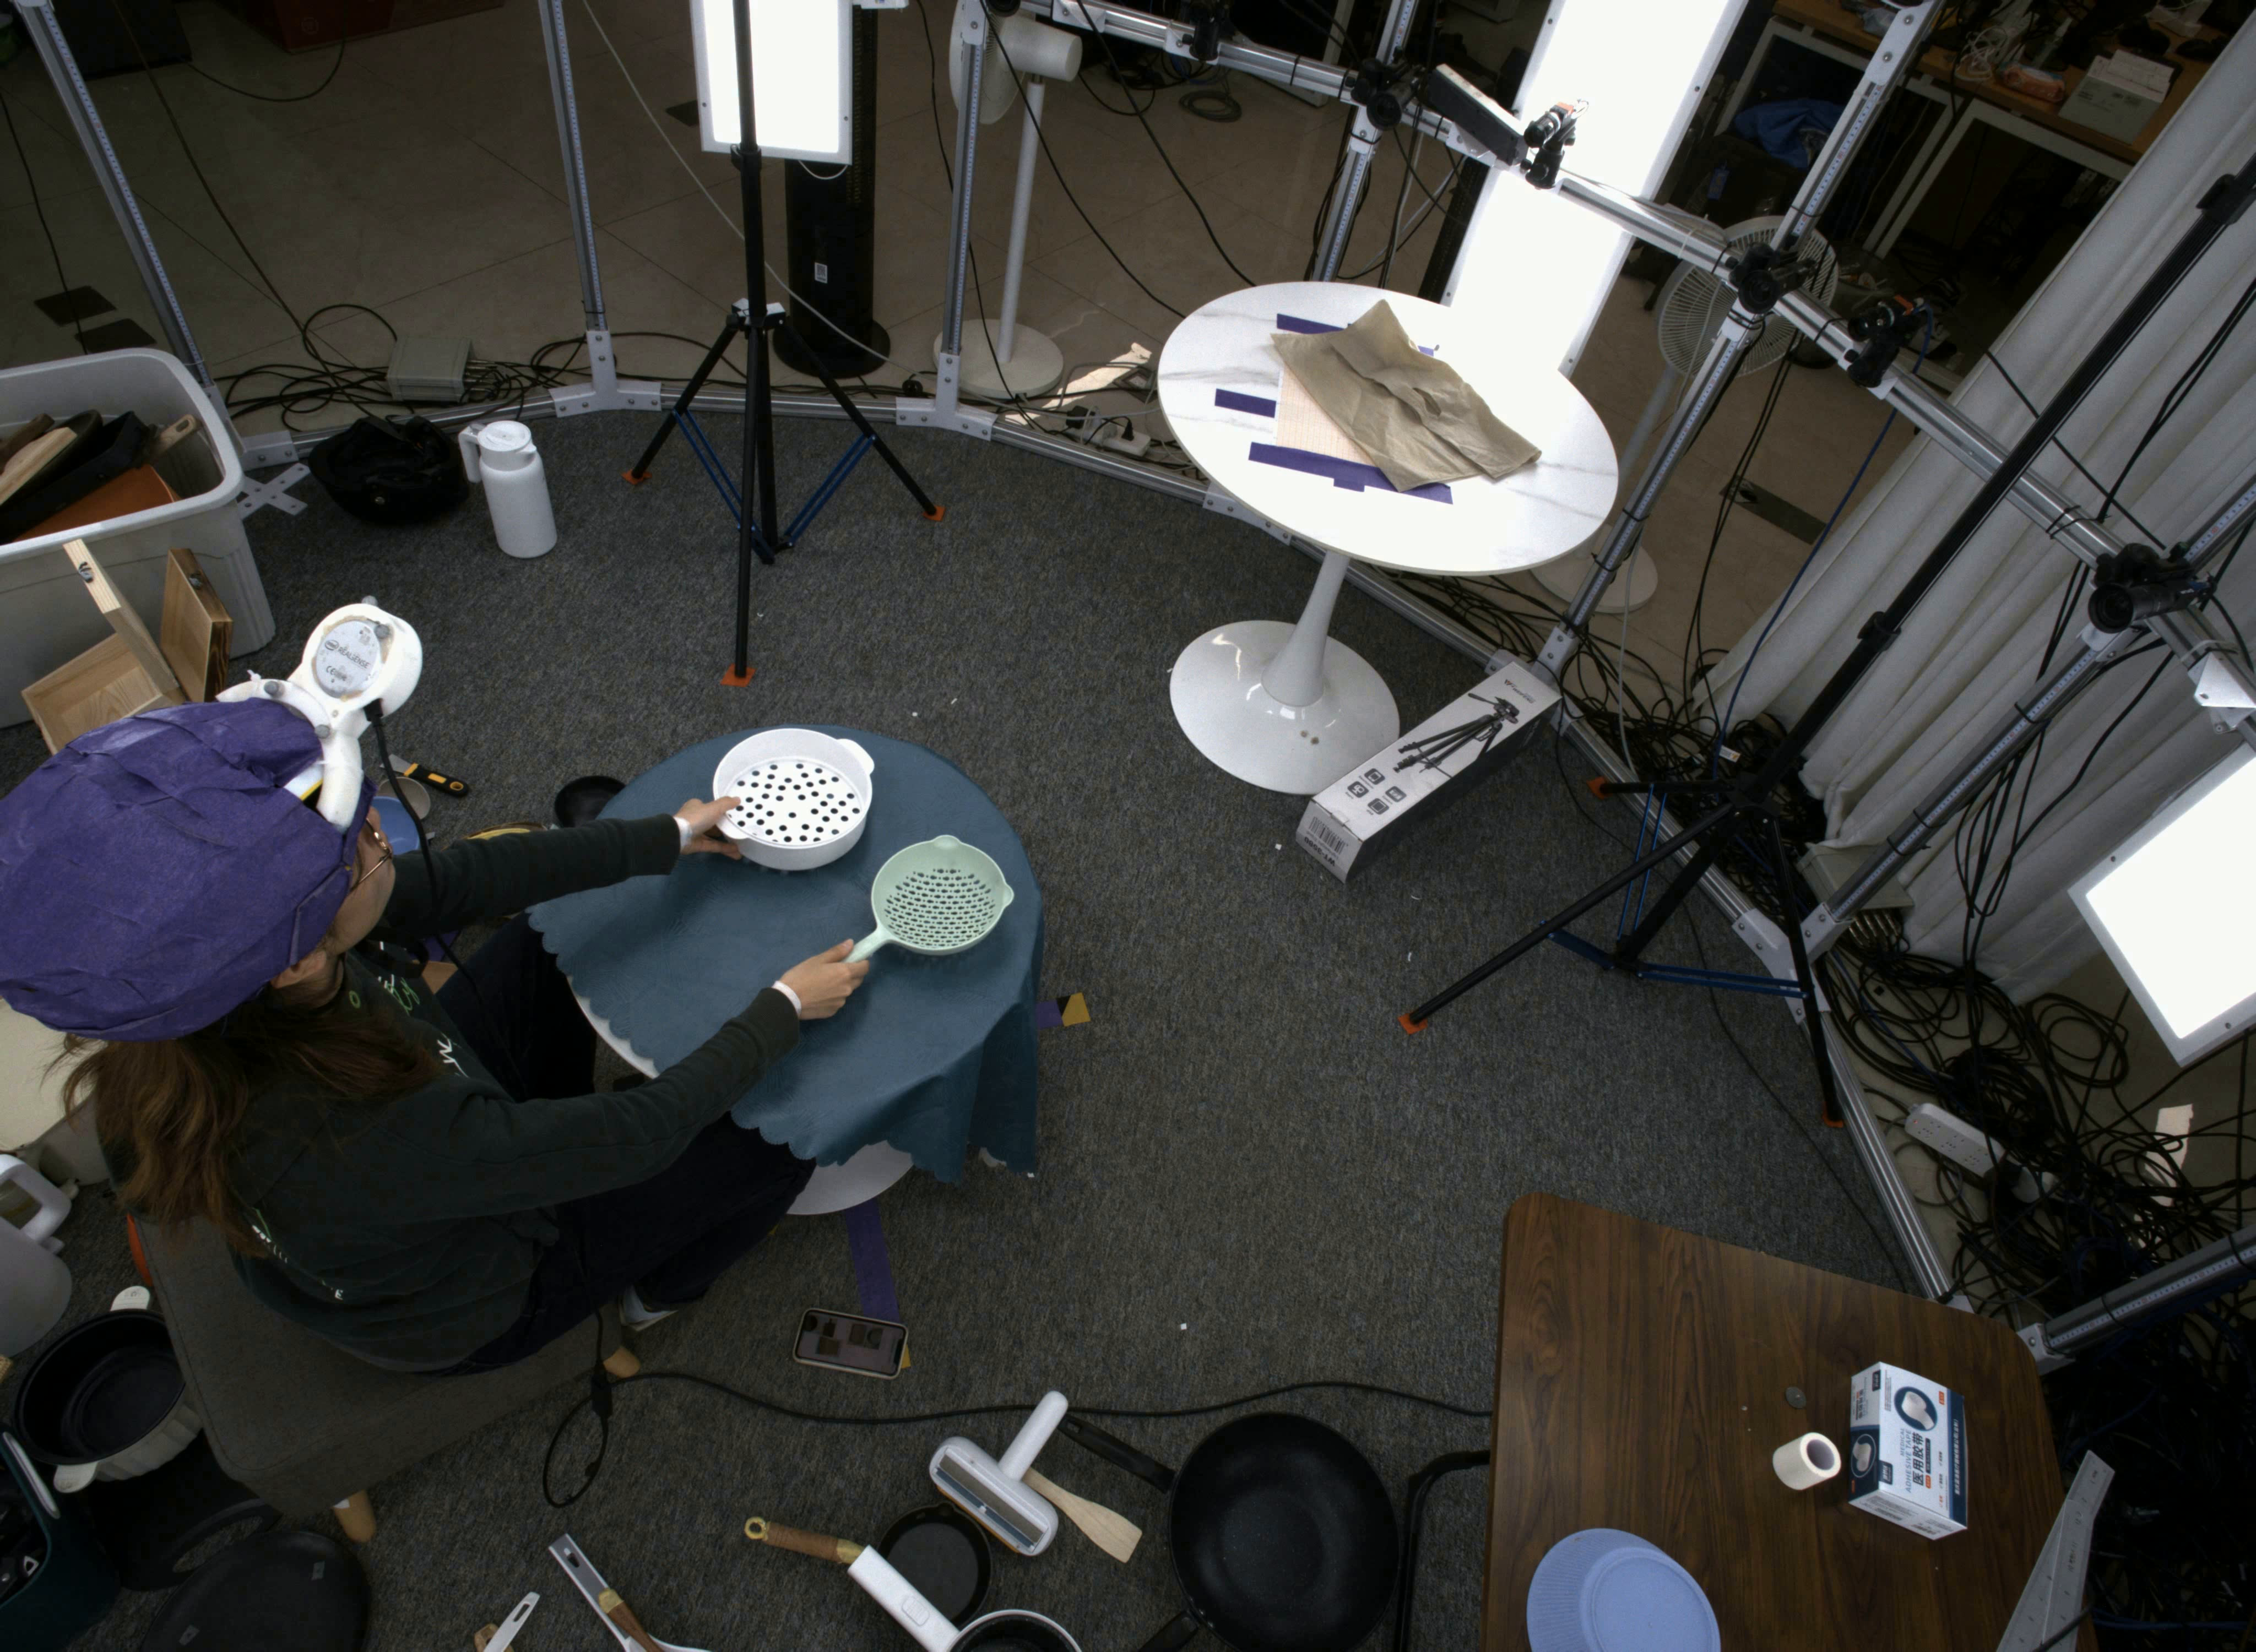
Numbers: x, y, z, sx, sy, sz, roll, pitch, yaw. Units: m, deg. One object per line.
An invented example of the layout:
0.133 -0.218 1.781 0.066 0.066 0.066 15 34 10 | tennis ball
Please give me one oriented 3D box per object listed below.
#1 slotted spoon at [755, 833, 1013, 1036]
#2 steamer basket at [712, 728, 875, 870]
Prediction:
-0.308 0.140 1.605 0.165 0.077 0.360 40 50 22 | slotted spoon
-0.438 -0.036 1.707 0.197 0.070 0.231 42 52 17 | steamer basket
